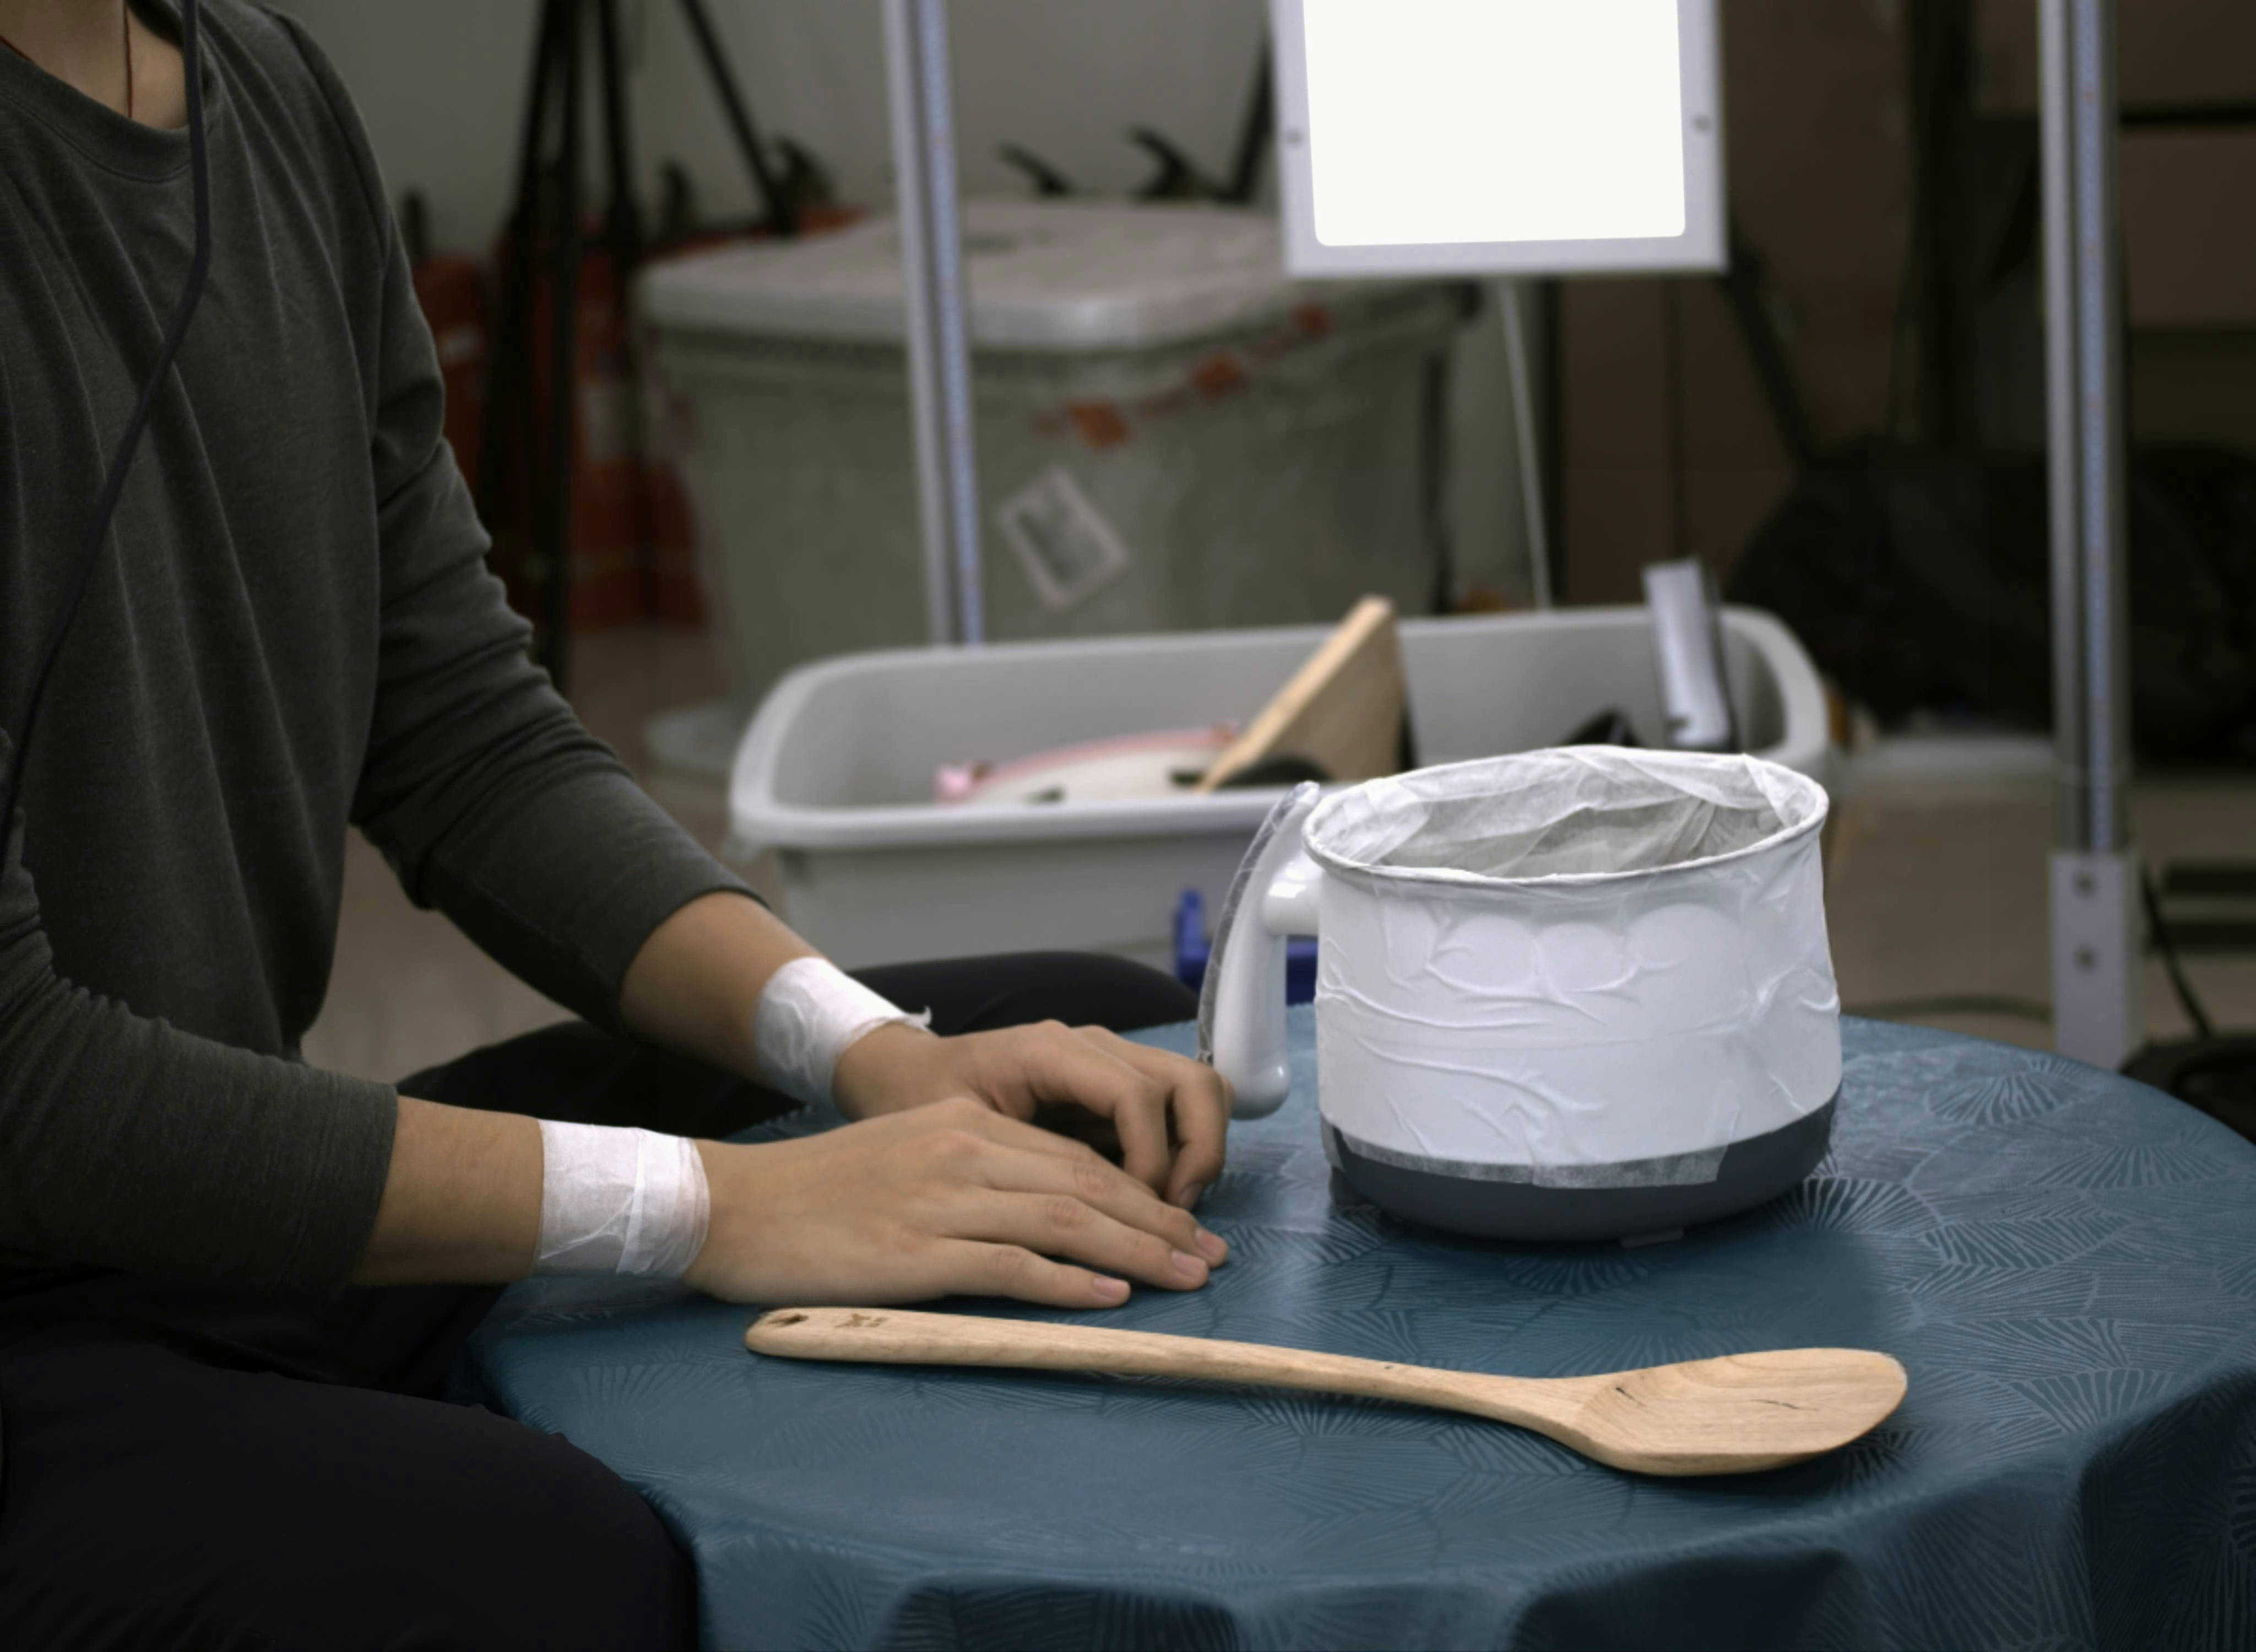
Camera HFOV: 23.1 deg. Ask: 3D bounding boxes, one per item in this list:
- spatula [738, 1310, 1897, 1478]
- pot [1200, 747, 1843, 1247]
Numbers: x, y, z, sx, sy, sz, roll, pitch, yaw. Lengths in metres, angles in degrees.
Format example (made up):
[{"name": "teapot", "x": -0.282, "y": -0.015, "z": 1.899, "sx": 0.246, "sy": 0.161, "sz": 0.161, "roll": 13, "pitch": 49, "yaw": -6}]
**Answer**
[{"name": "spatula", "x": 0.047, "y": 0.168, "z": 1.680, "sx": 0.398, "sy": 0.018, "sz": 0.093, "roll": 3, "pitch": 14, "yaw": 29}, {"name": "pot", "x": 0.127, "y": 0.054, "z": 1.862, "sx": 0.238, "sy": 0.137, "sz": 0.174, "roll": 3, "pitch": 16, "yaw": 31}]
